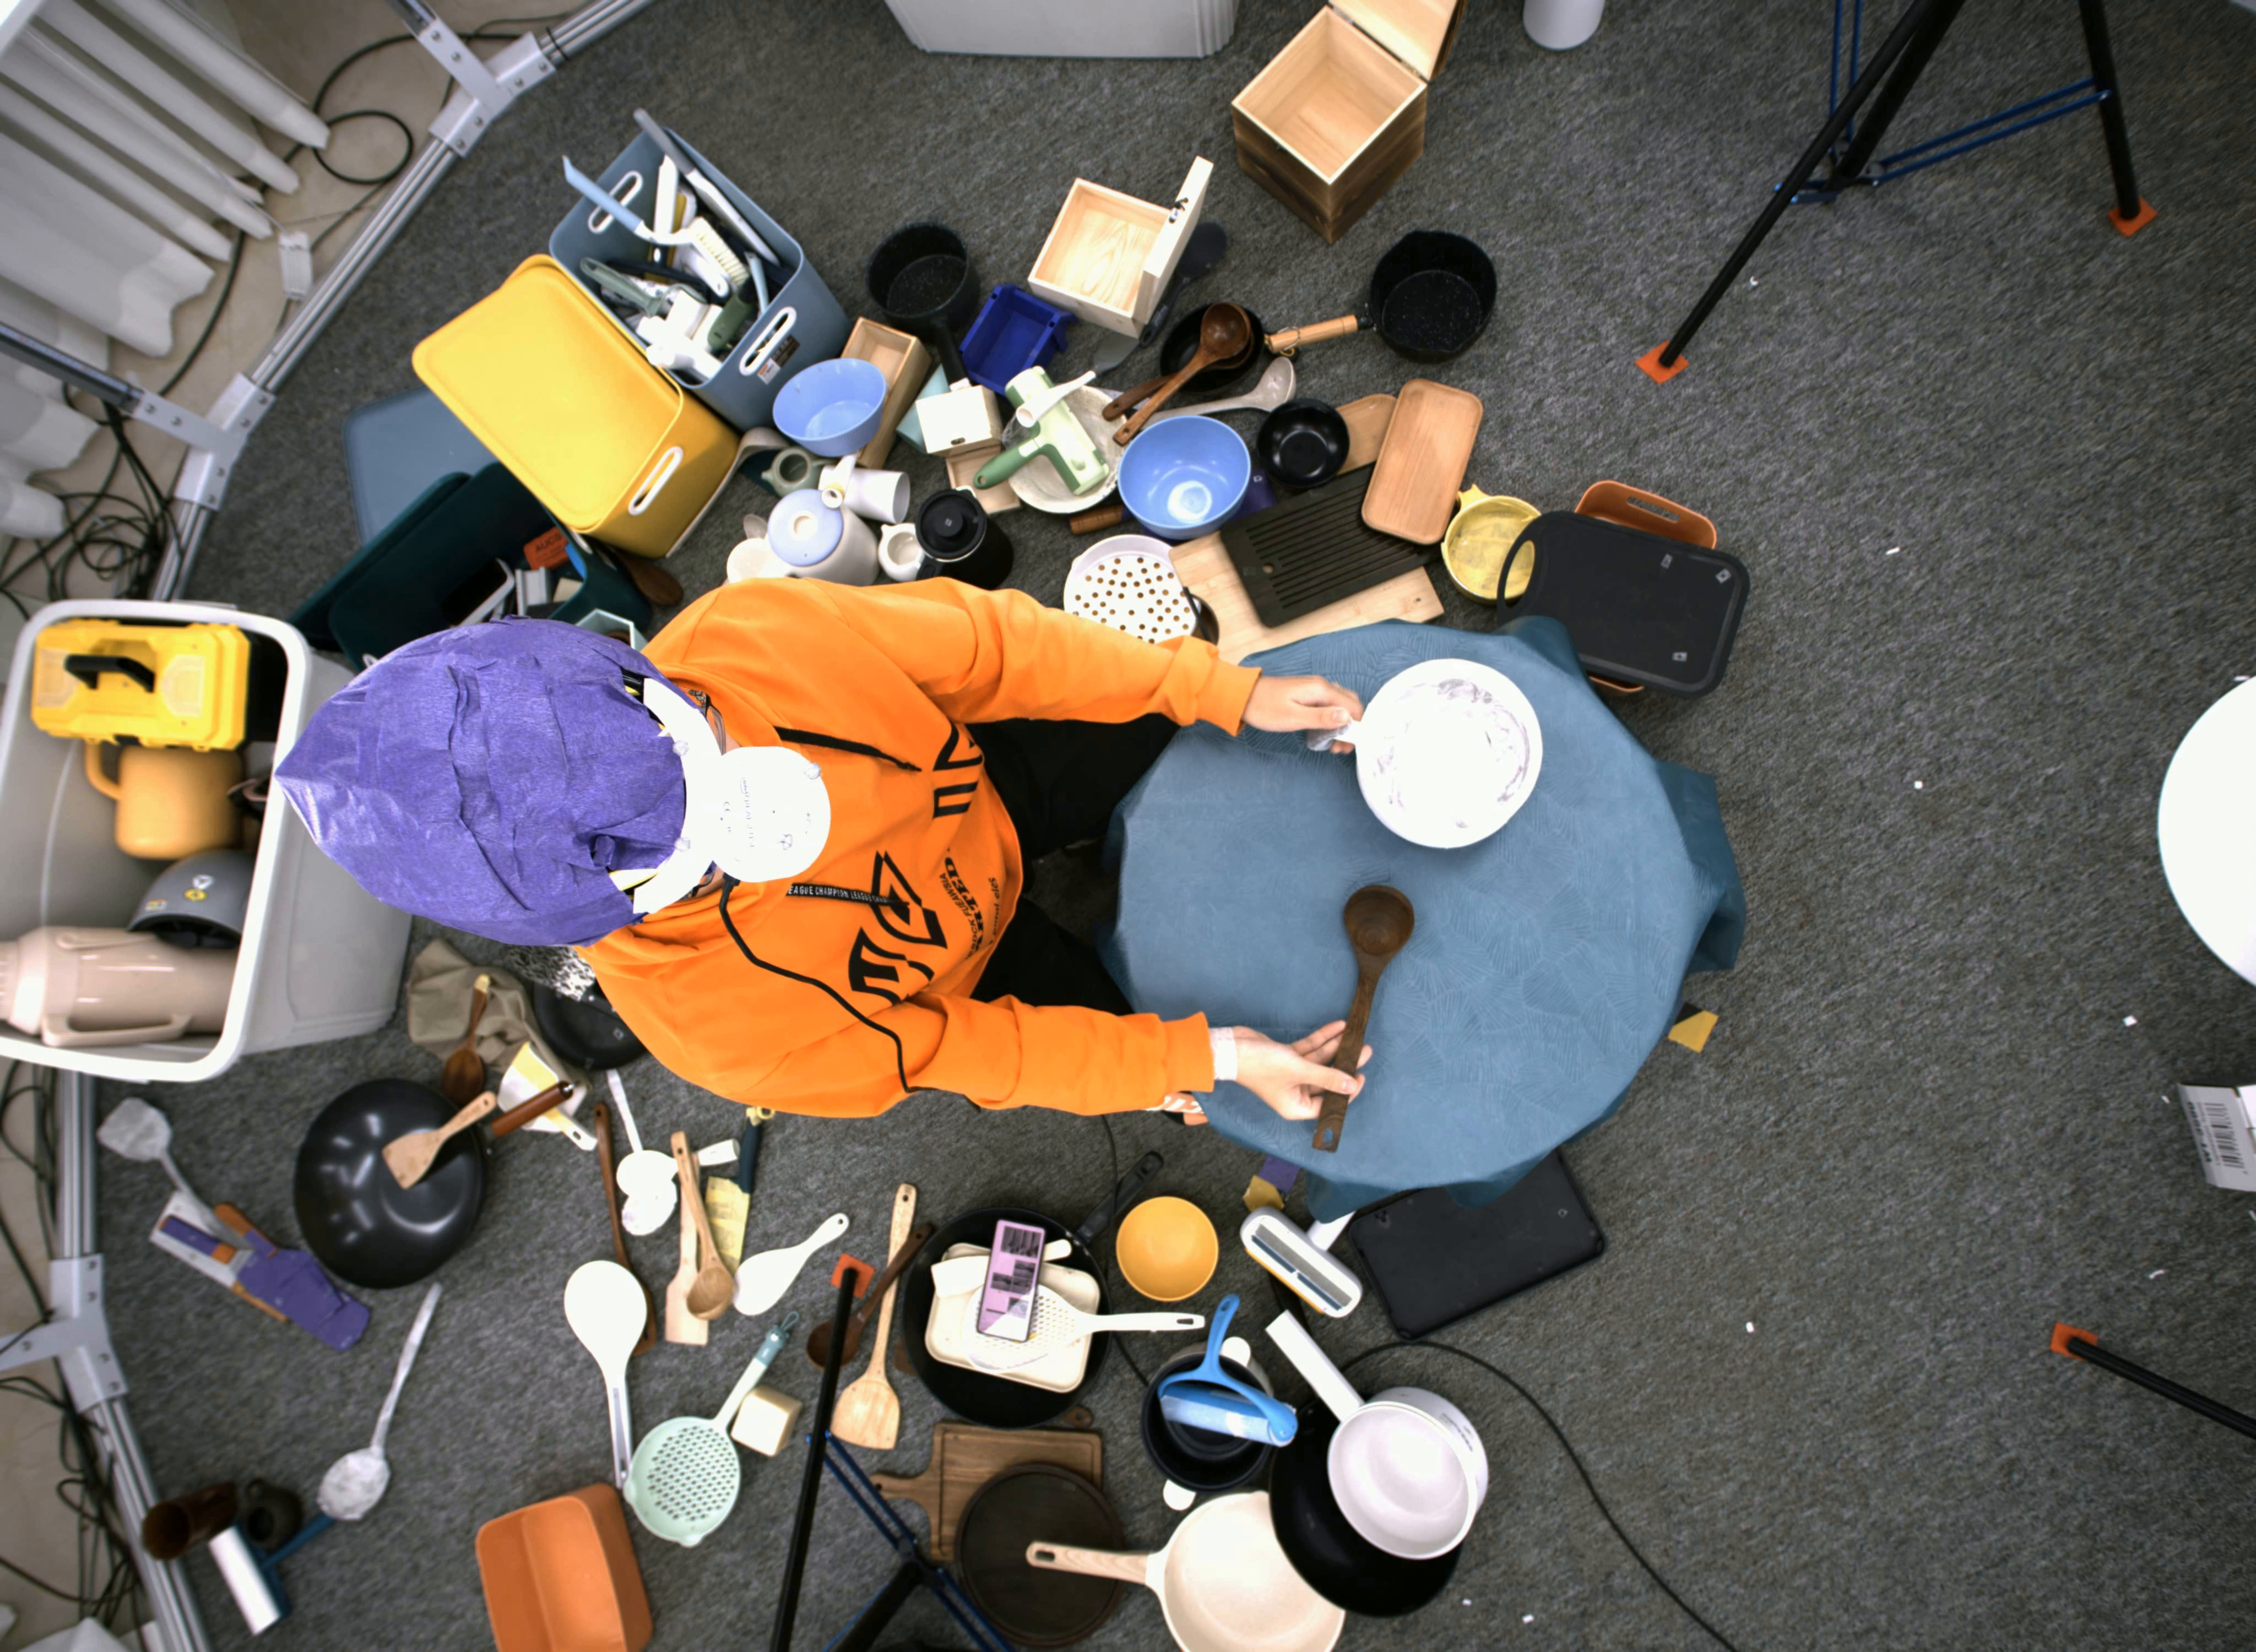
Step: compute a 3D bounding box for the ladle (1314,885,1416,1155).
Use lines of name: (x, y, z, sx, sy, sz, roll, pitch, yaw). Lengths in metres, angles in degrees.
ladle: (0.230, 0.192, 1.403, 0.076, 0.072, 0.270, 12, 73, 22)

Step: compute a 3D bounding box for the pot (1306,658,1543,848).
pot: (0.294, -0.076, 1.394, 0.234, 0.137, 0.178, 13, 88, 11)
